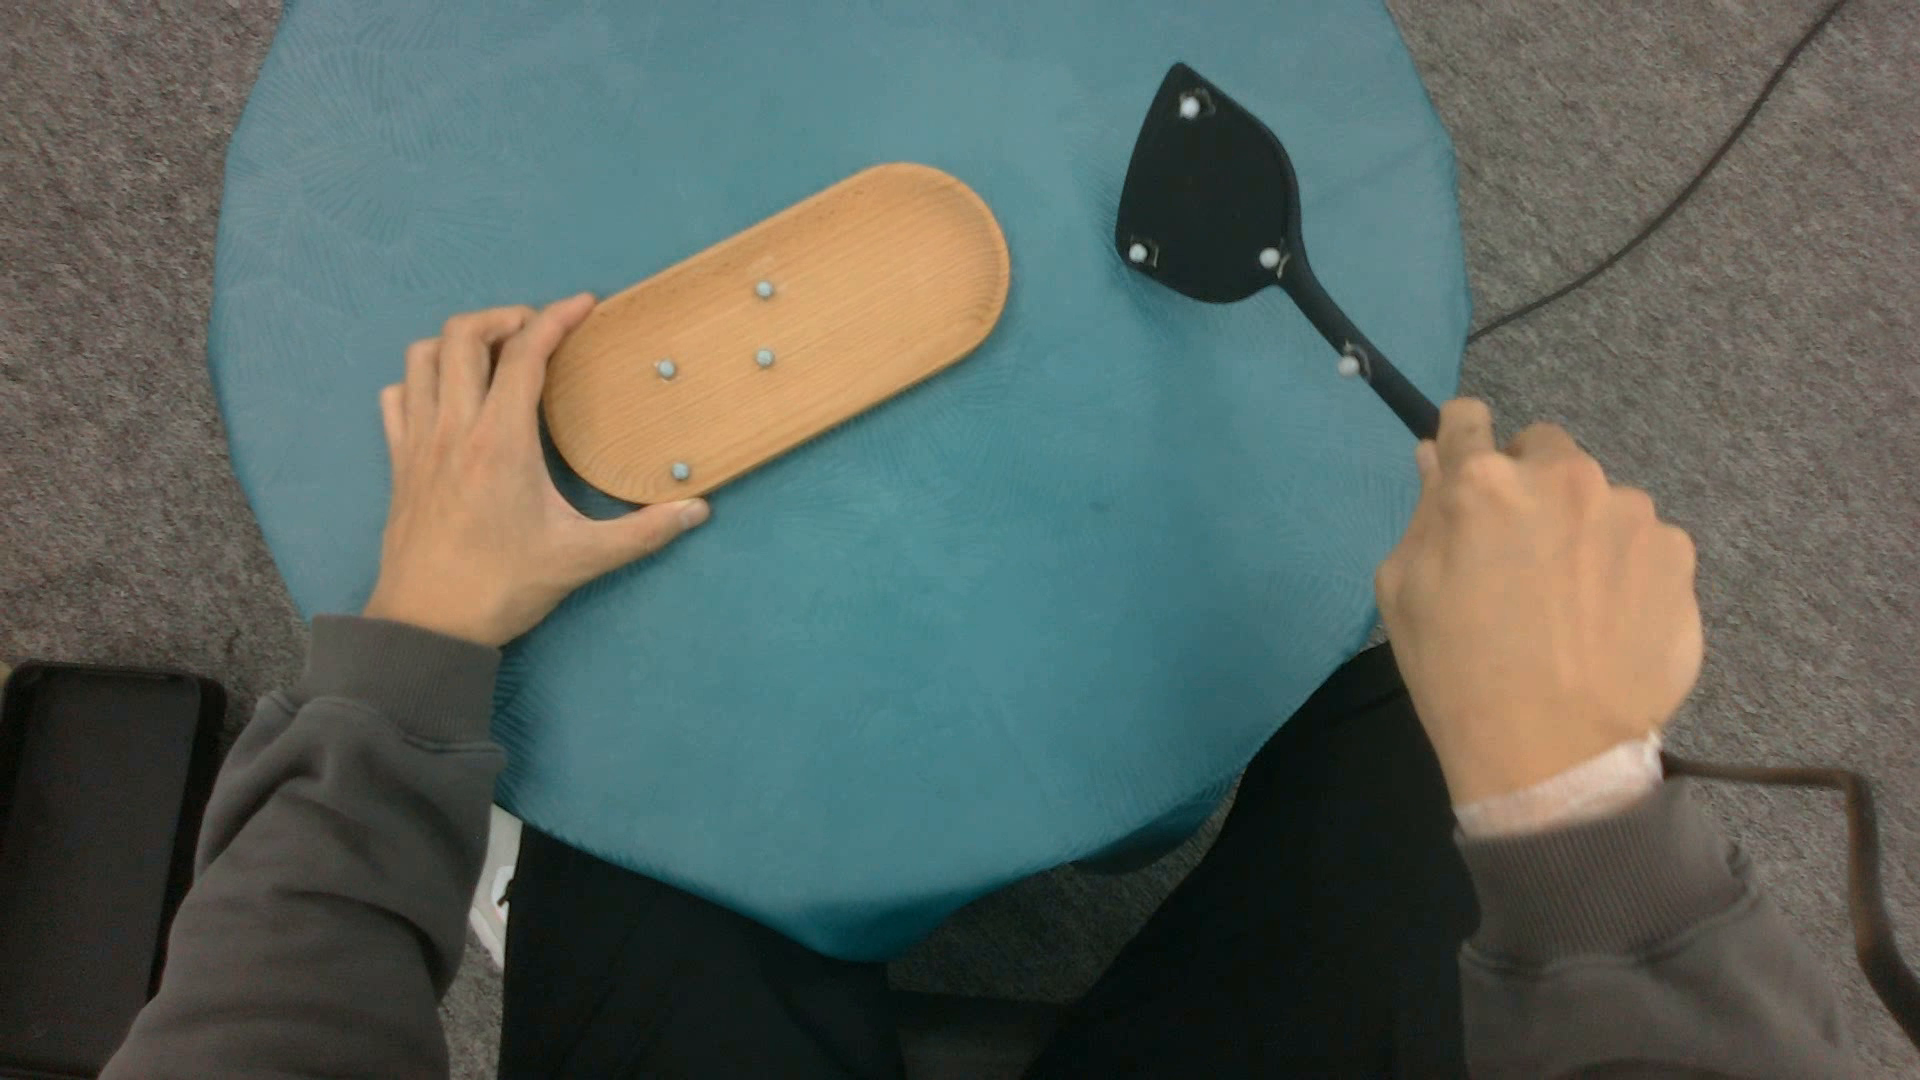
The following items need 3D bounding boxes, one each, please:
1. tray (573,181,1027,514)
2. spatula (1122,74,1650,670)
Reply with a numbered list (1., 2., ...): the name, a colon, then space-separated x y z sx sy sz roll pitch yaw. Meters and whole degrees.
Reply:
1. tray: -0.076 -0.093 0.664 0.231 0.020 0.102 -28 84 -6
2. spatula: 0.156 -0.069 0.550 0.040 0.099 0.327 -8 46 -21
